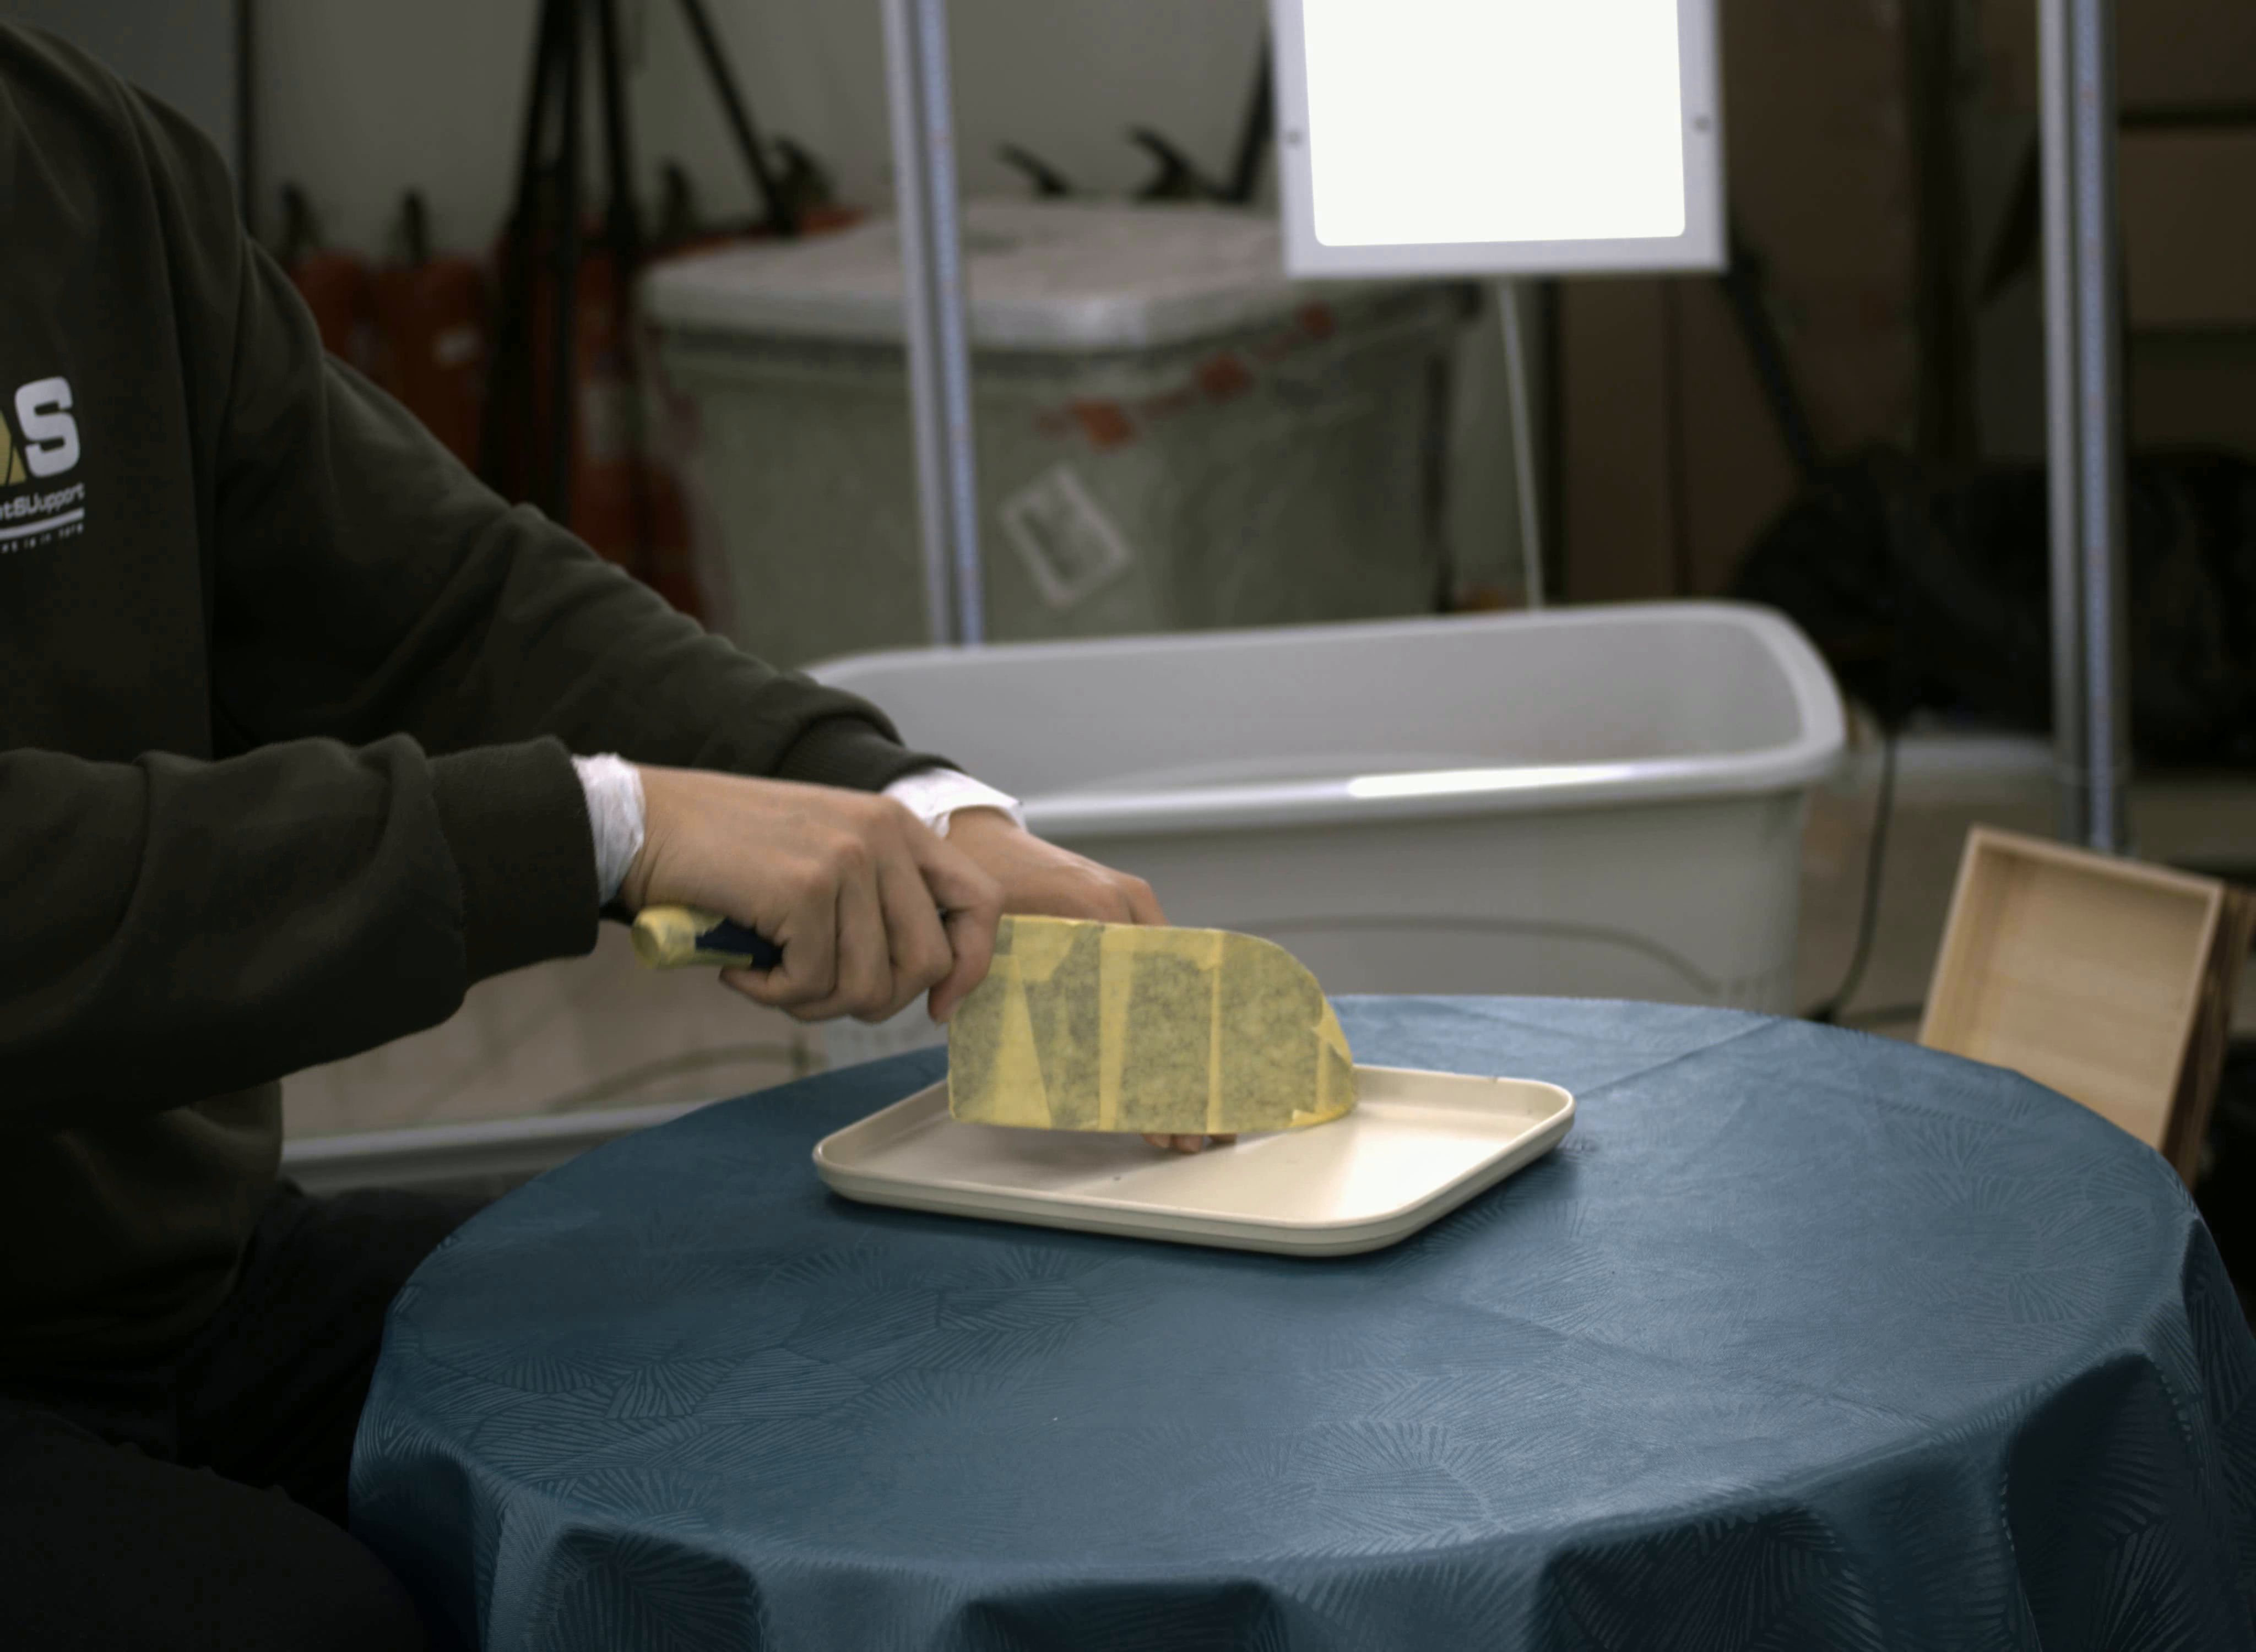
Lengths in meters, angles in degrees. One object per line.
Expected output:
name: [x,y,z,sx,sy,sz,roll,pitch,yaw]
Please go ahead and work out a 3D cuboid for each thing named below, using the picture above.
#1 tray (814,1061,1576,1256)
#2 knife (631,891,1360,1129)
tray: [0.024,0.111,1.920,0.244,0.017,0.167,4,17,34]
knife: [-0.040,0.062,1.894,0.283,0.081,0.028,9,-10,-27]
